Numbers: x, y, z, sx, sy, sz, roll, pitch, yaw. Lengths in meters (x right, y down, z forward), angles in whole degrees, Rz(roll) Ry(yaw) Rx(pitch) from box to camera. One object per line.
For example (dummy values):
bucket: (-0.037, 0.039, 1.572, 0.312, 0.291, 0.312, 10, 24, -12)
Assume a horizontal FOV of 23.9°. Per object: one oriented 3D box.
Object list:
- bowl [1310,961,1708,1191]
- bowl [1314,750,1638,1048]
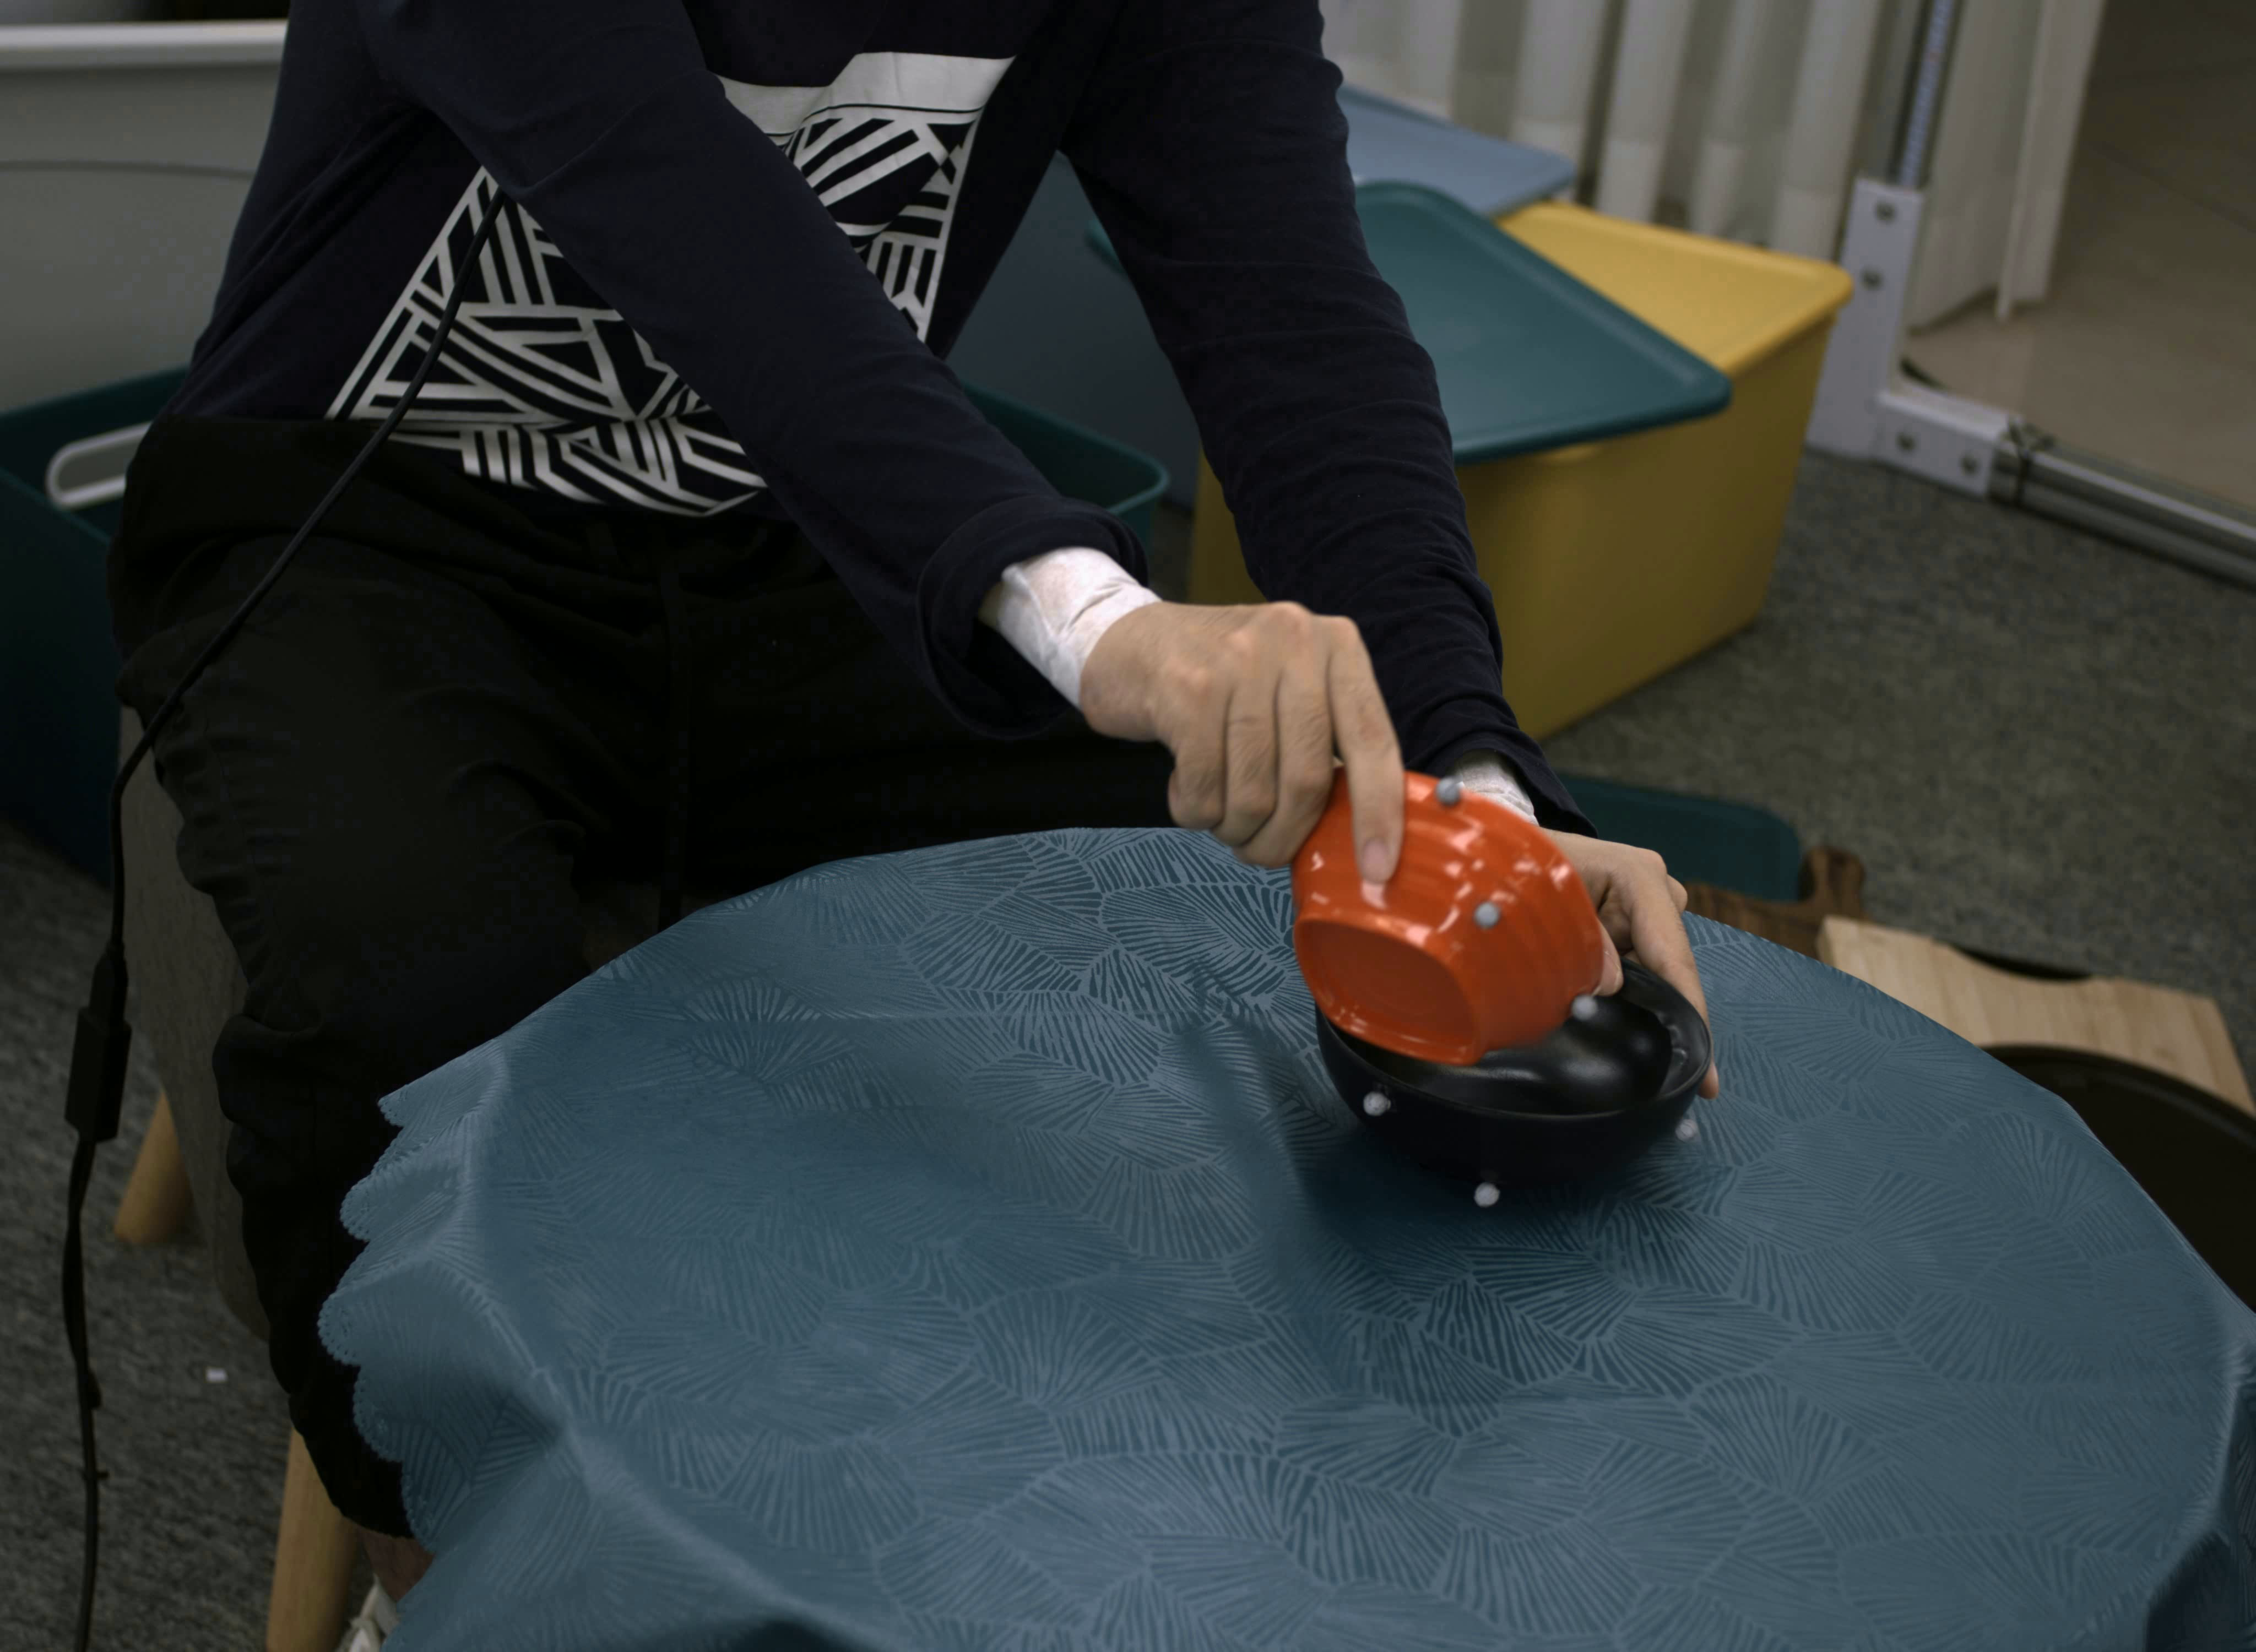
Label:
bowl: (0.130, 0.090, 1.853, 0.139, 0.049, 0.141, 4, 22, -2)
bowl: (0.105, 0.031, 1.749, 0.120, 0.118, 0.051, 26, 70, 32)
